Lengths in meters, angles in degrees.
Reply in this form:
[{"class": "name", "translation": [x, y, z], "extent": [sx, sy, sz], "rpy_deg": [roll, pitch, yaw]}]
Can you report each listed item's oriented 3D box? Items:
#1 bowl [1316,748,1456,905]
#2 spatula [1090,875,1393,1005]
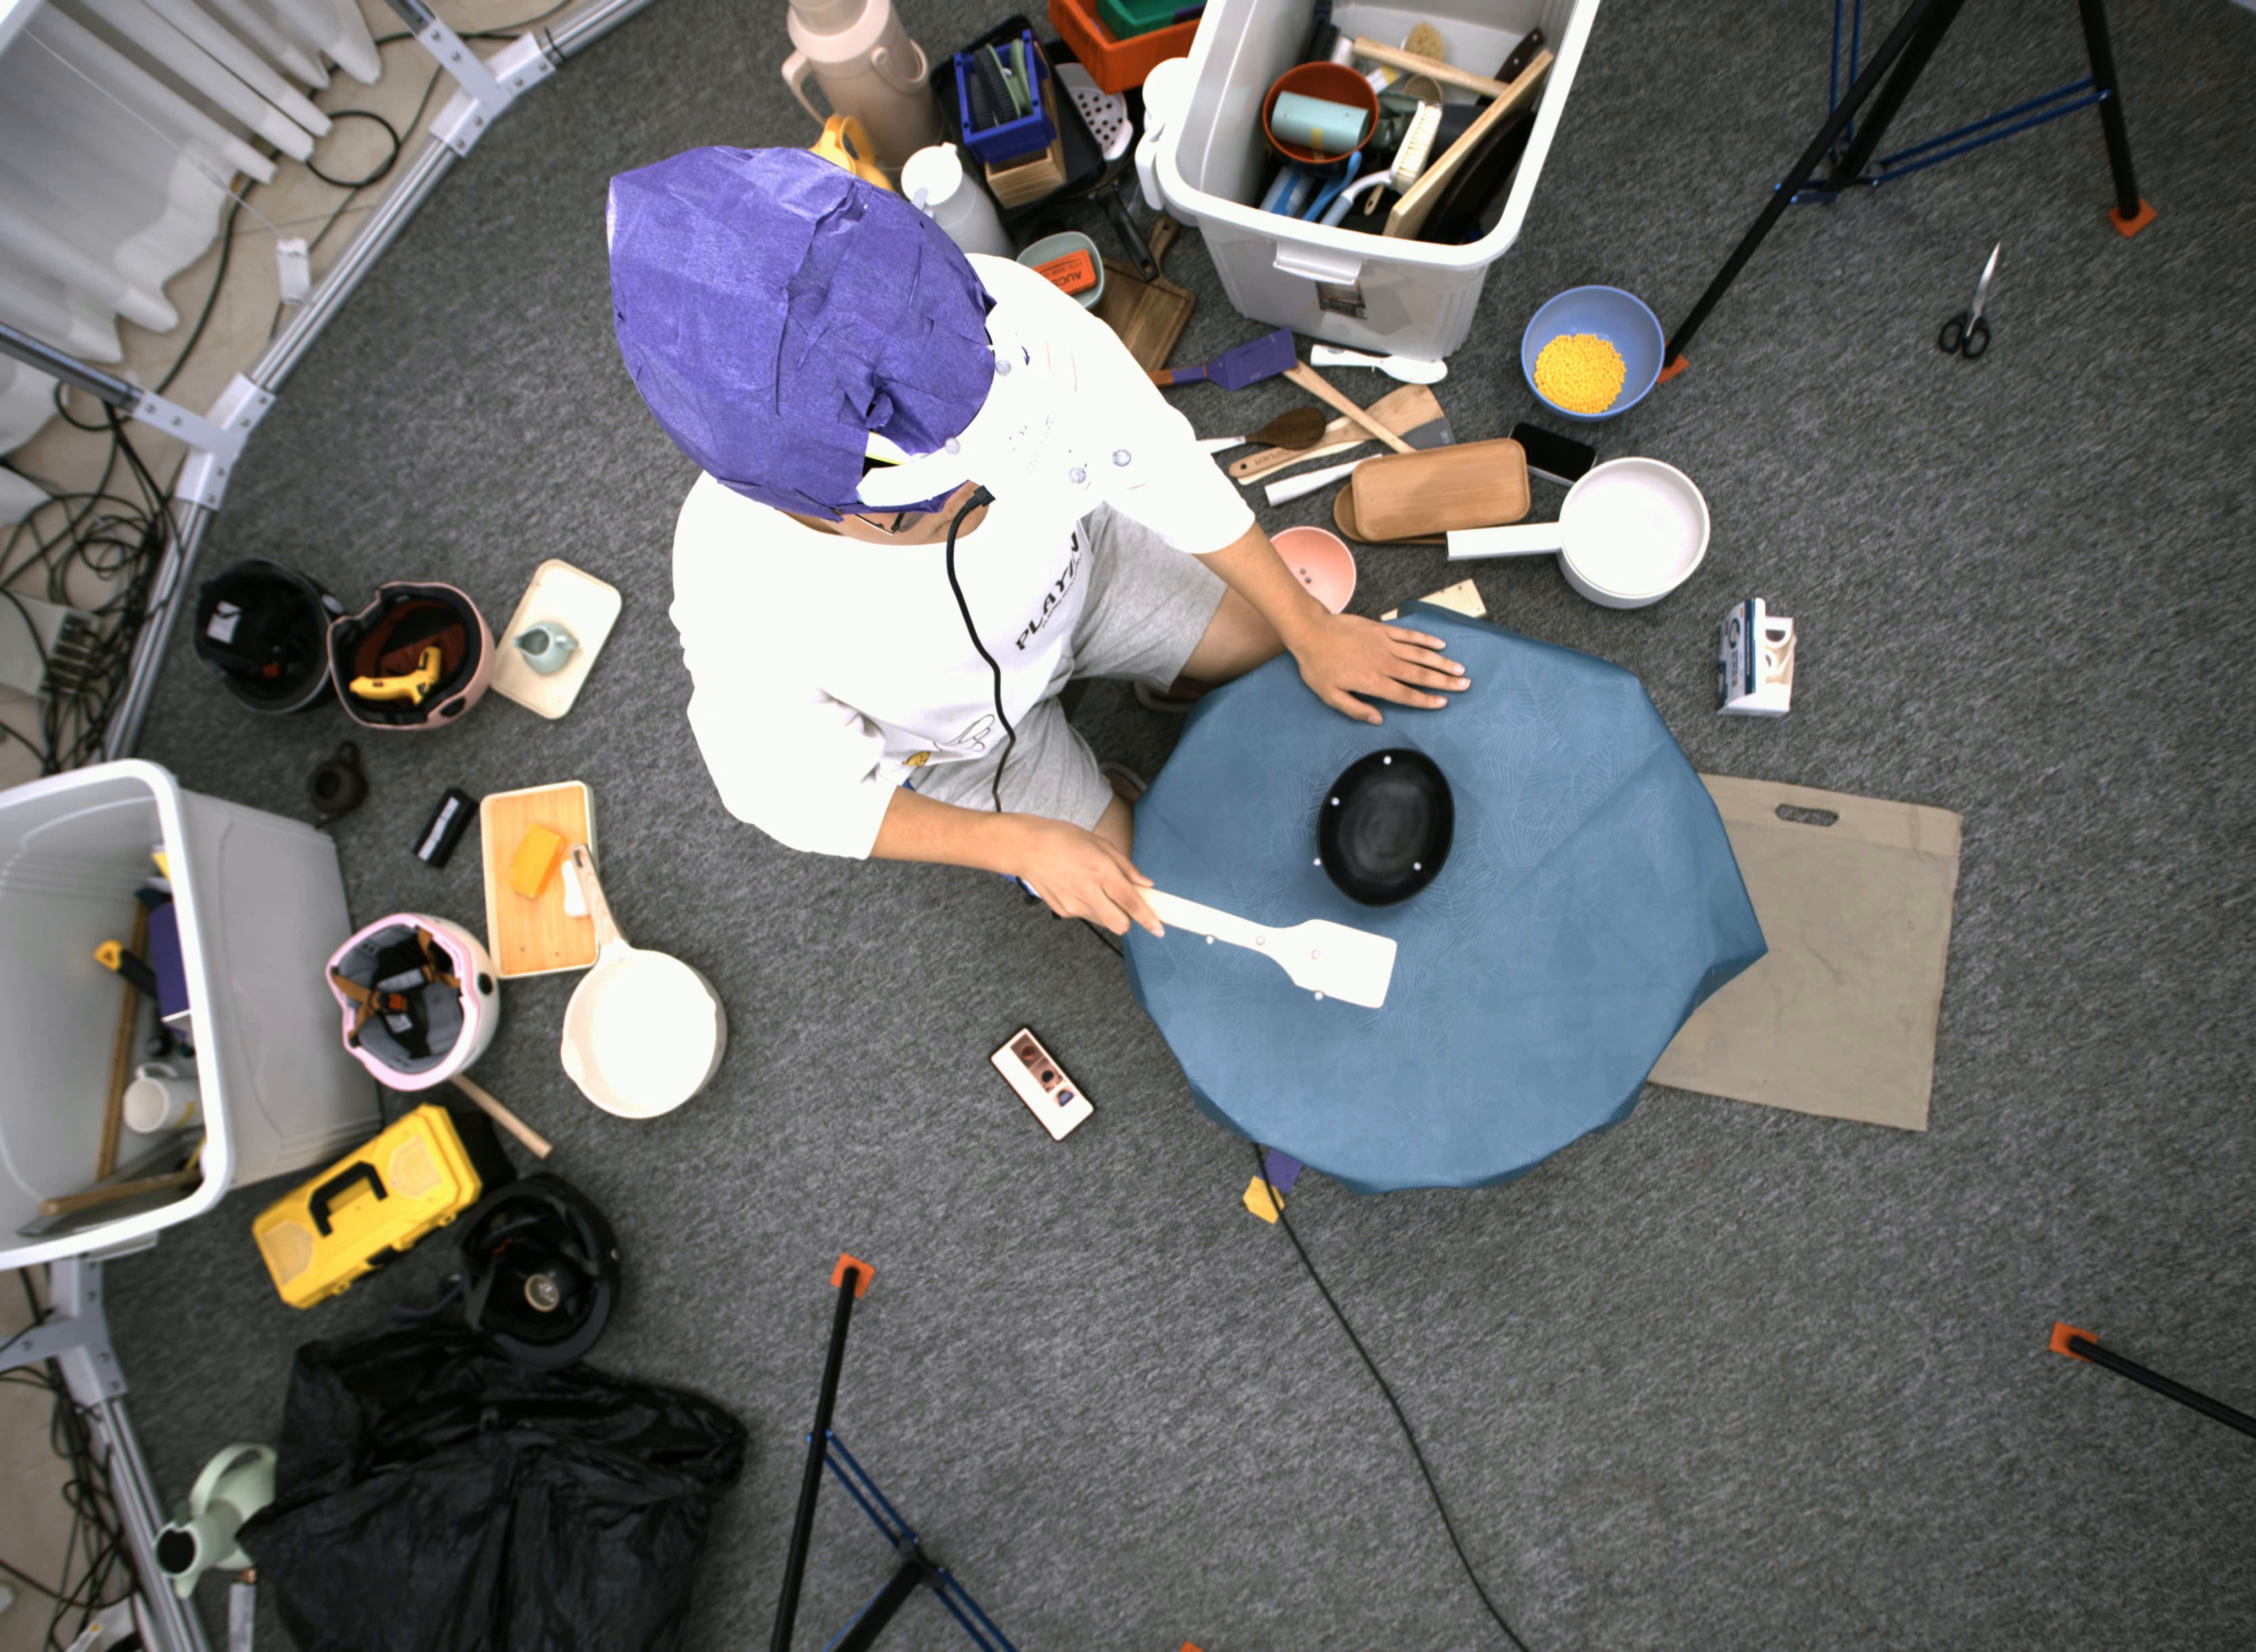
[{"class": "bowl", "translation": [0.268, 0.000, 1.432], "extent": [0.137, 0.067, 0.170], "rpy_deg": [18, 88, 12]}, {"class": "spatula", "translation": [0.105, 0.099, 1.320], "extent": [0.293, 0.011, 0.071], "rpy_deg": [16, 73, 3]}]
